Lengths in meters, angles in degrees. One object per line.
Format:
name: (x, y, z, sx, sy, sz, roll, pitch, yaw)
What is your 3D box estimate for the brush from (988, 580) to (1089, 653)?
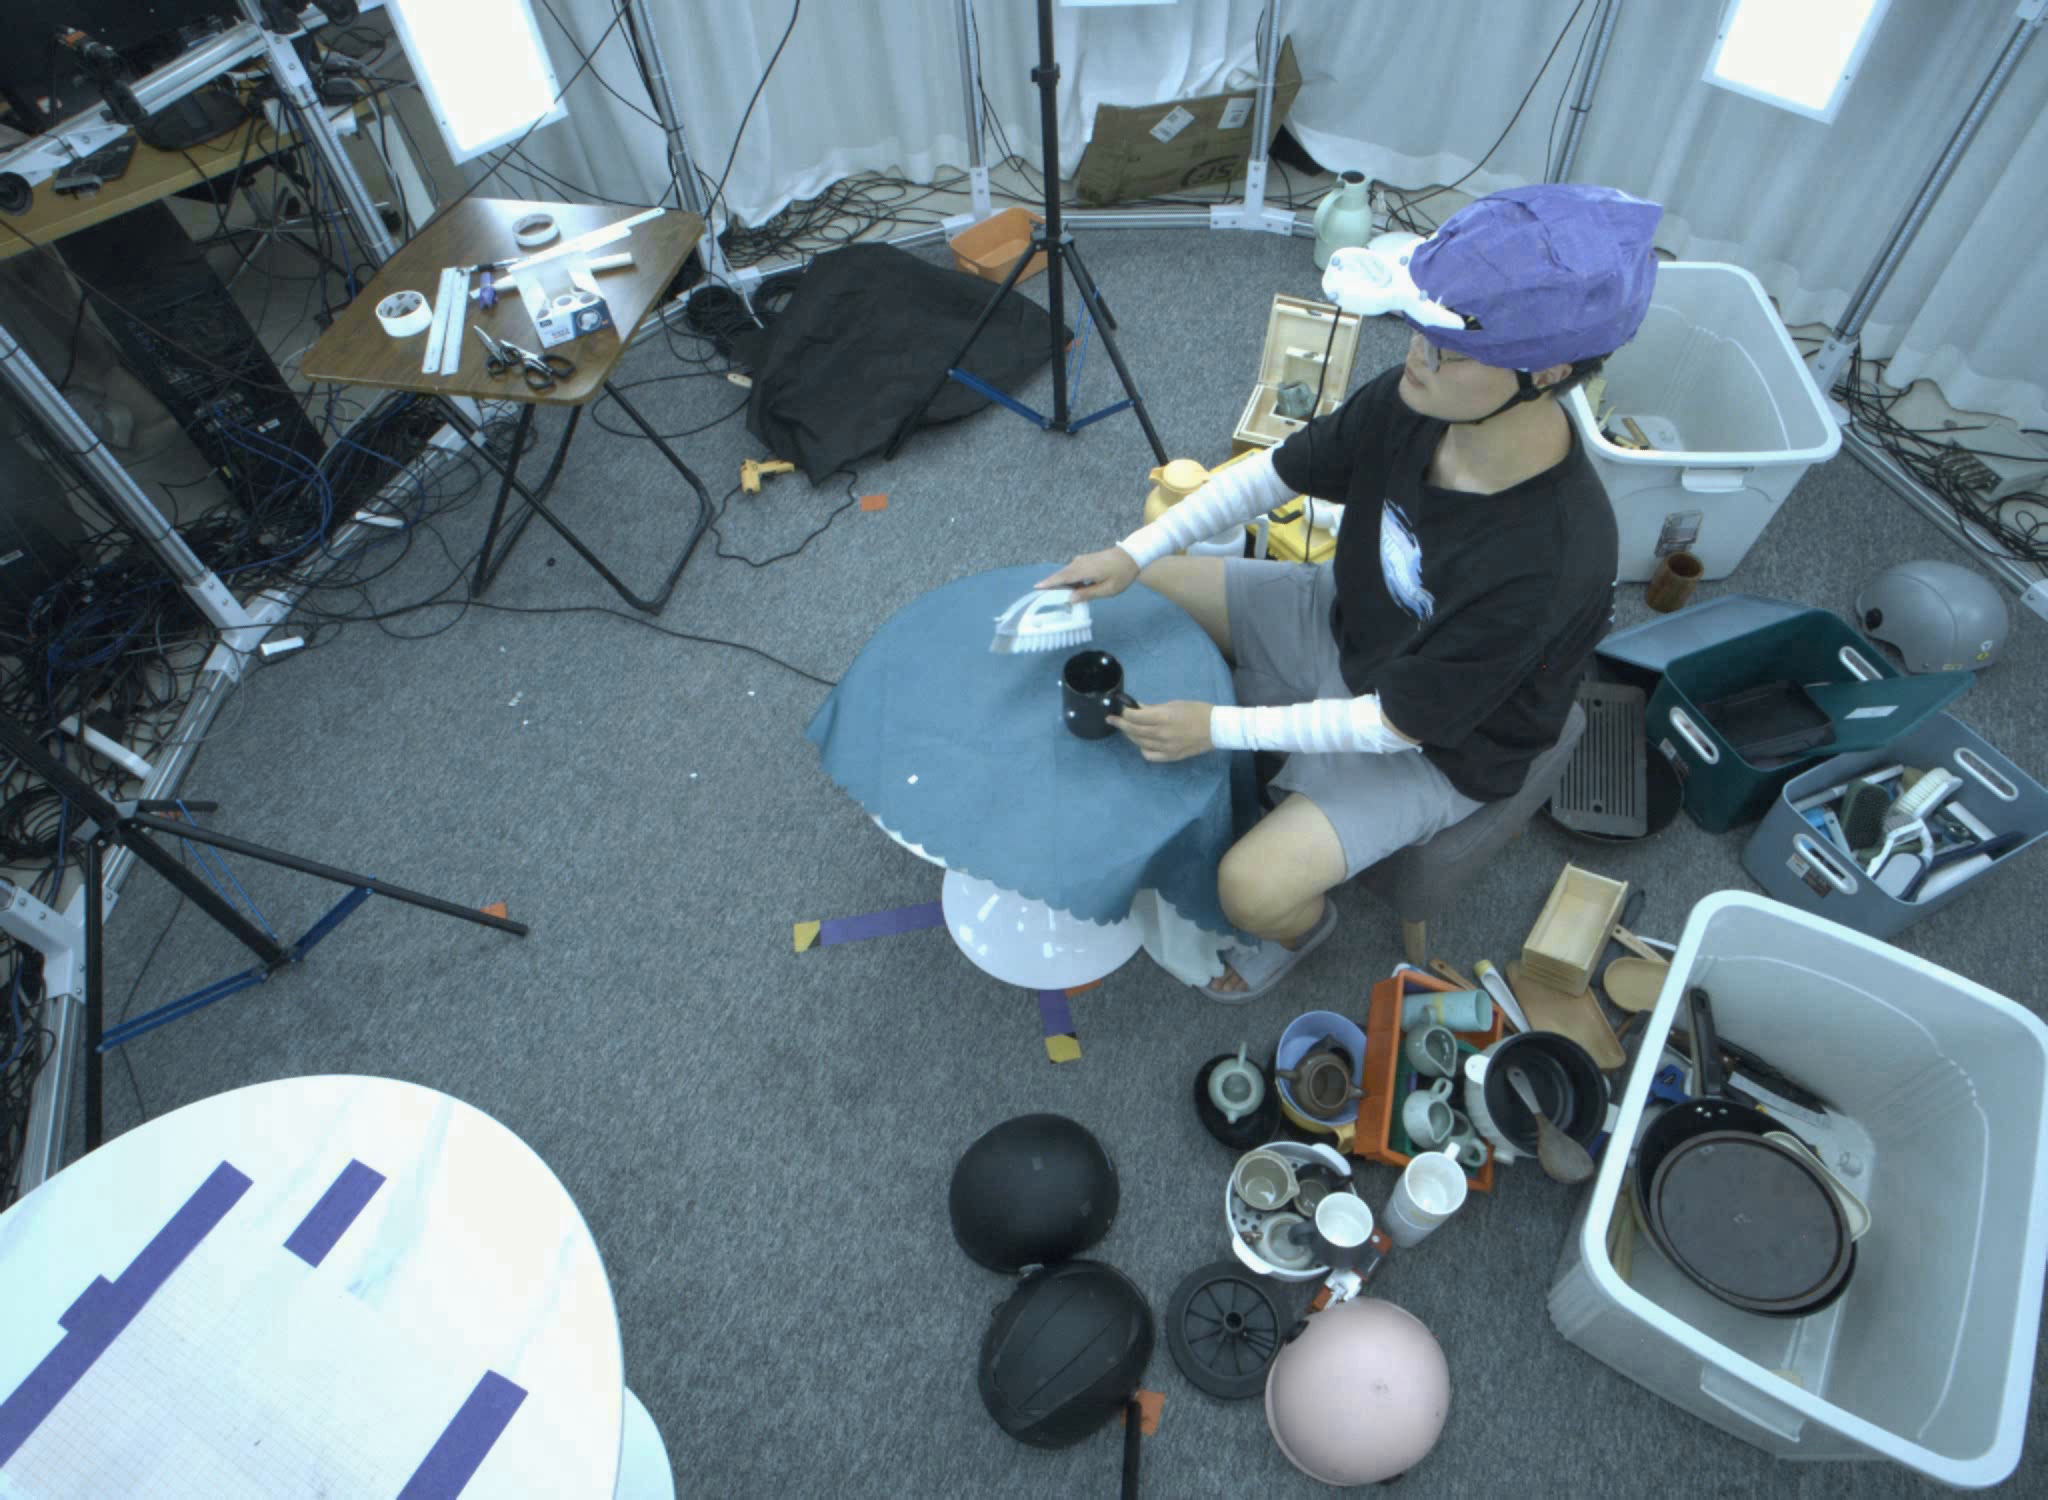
brush: (0.016, -0.198, 1.807, 0.178, 0.095, 0.060, -17, 26, -35)

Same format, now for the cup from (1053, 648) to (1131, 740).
cup: (0.100, -0.072, 1.764, 0.122, 0.106, 0.089, 30, 57, 21)
